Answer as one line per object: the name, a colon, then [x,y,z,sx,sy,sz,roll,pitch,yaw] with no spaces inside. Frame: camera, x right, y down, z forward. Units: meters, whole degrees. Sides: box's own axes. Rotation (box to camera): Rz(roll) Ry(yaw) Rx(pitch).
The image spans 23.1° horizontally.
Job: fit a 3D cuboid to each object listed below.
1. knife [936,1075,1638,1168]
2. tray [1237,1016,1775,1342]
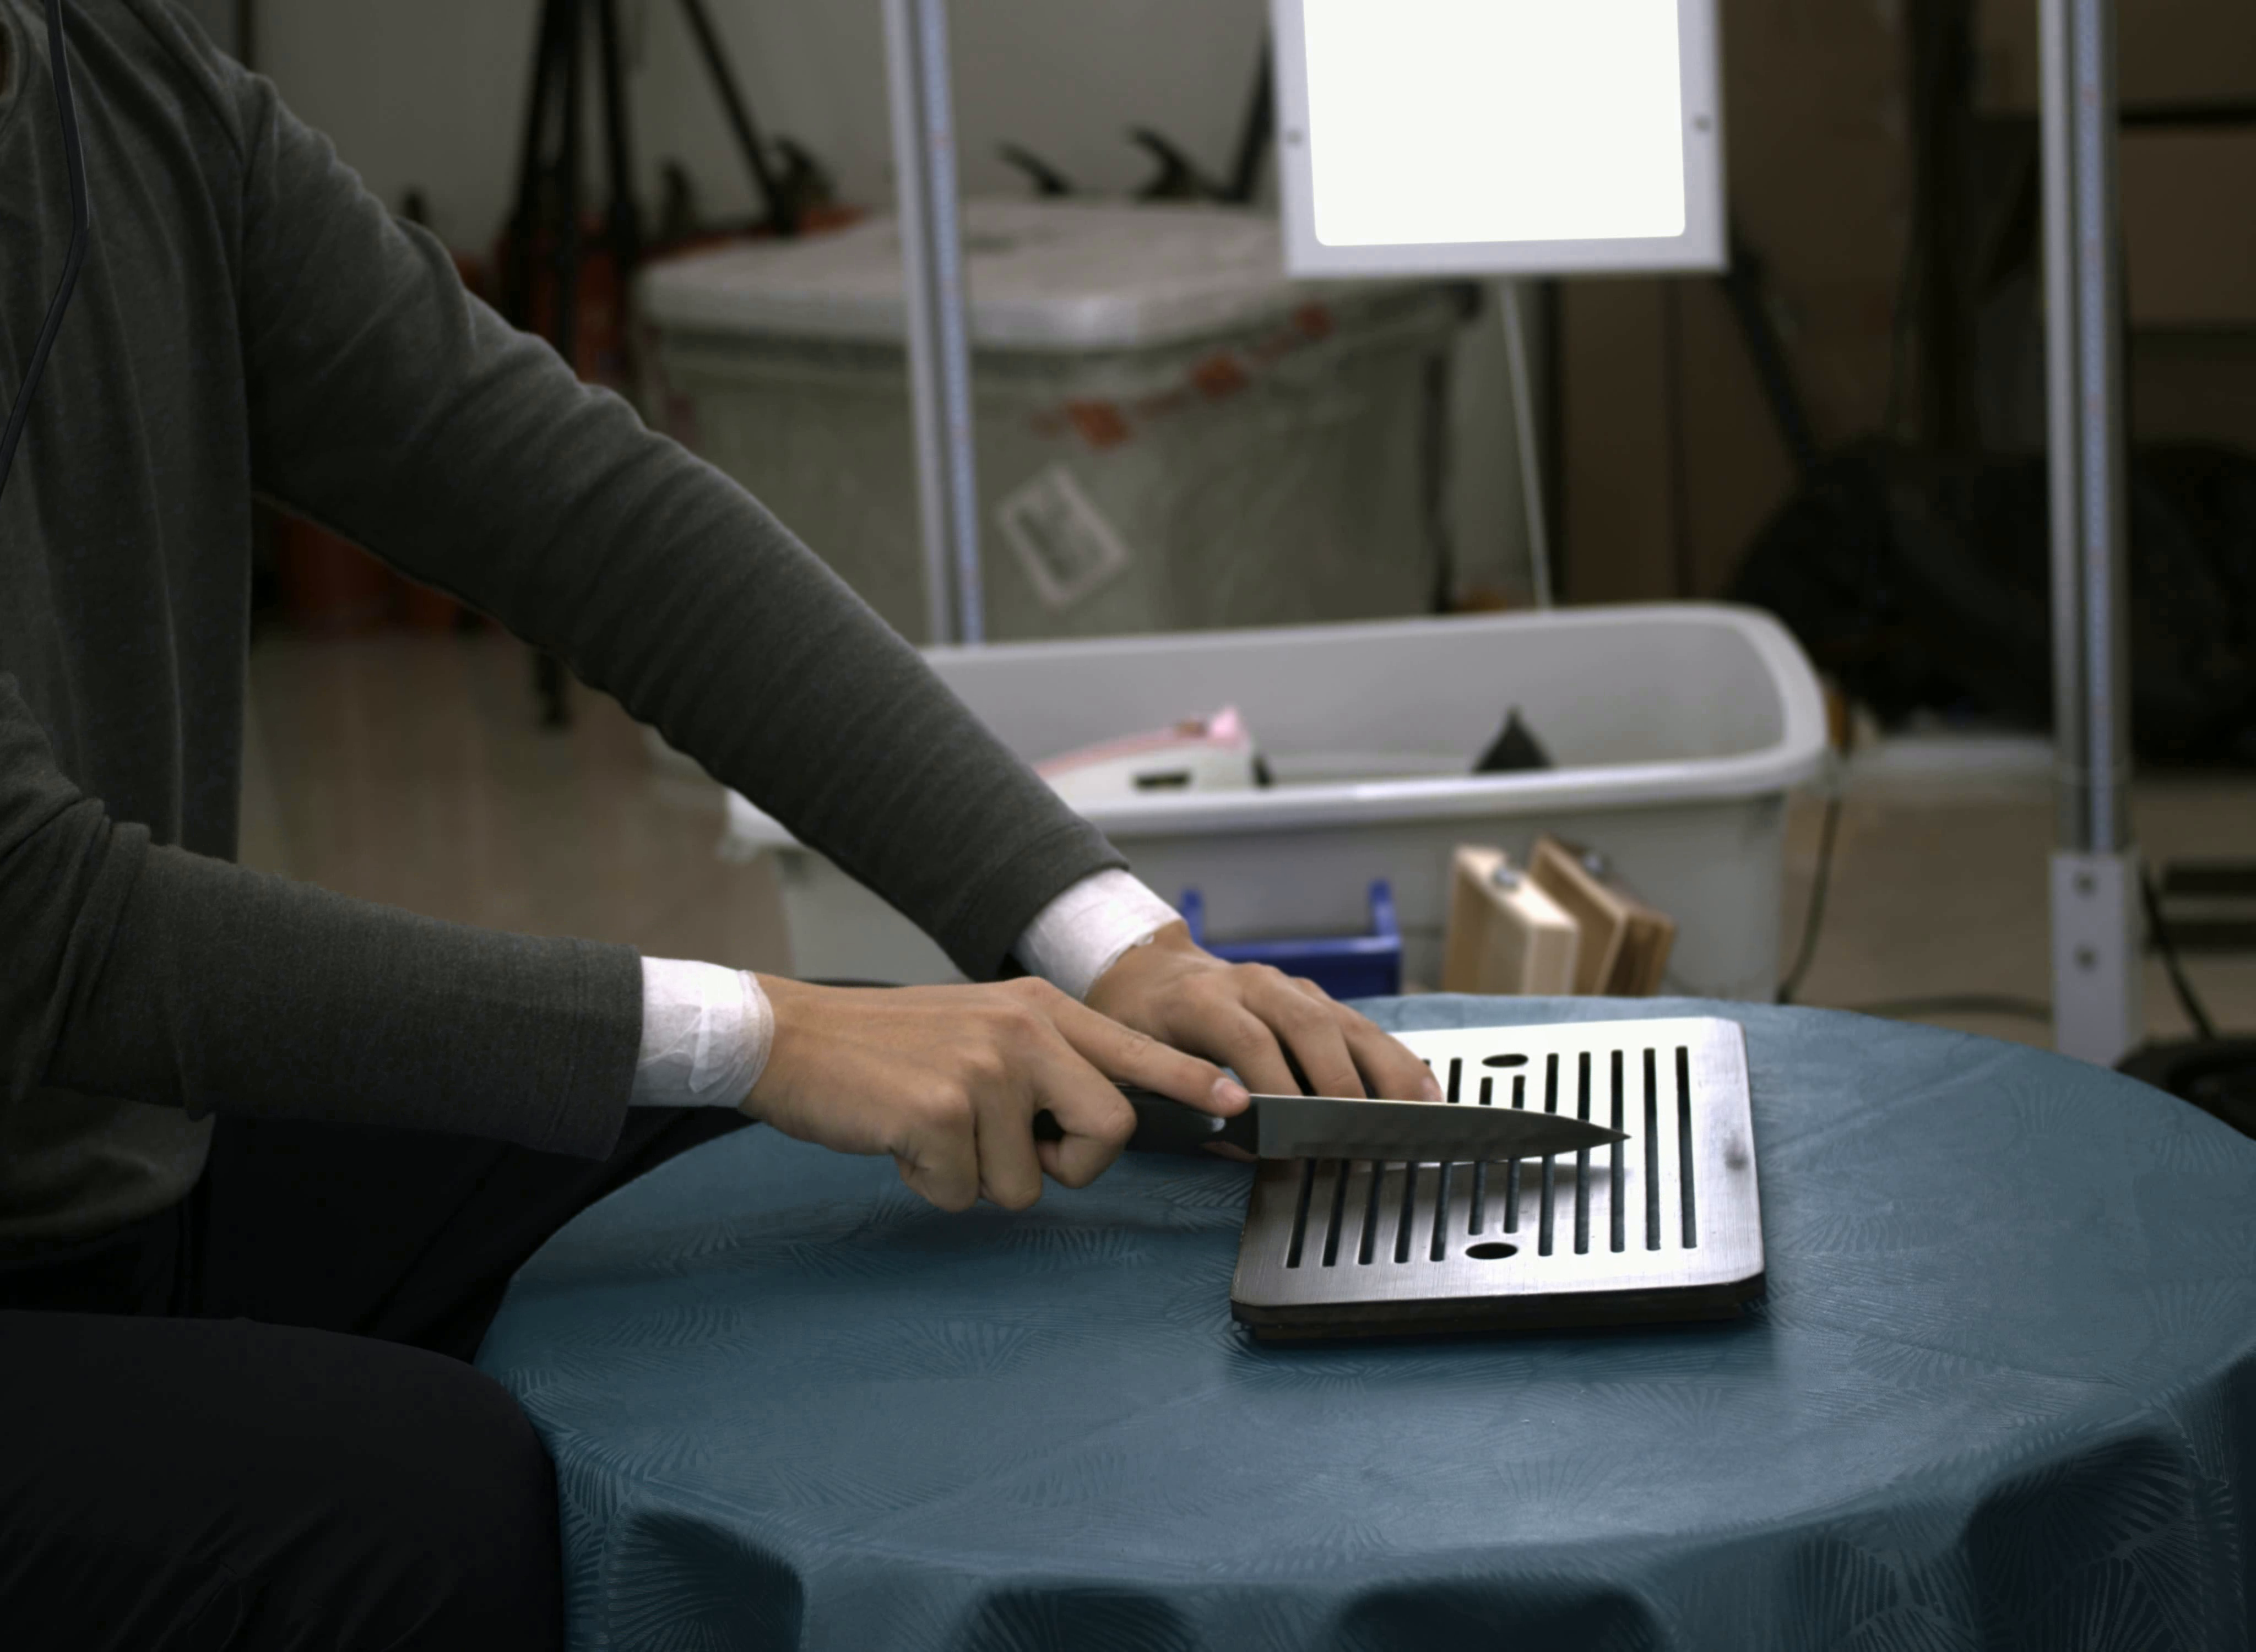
knife: [0.053,0.099,1.853,0.239,0.024,0.016,3,6,8]
tray: [0.131,0.117,1.857,0.171,0.019,0.304,-4,13,7]
